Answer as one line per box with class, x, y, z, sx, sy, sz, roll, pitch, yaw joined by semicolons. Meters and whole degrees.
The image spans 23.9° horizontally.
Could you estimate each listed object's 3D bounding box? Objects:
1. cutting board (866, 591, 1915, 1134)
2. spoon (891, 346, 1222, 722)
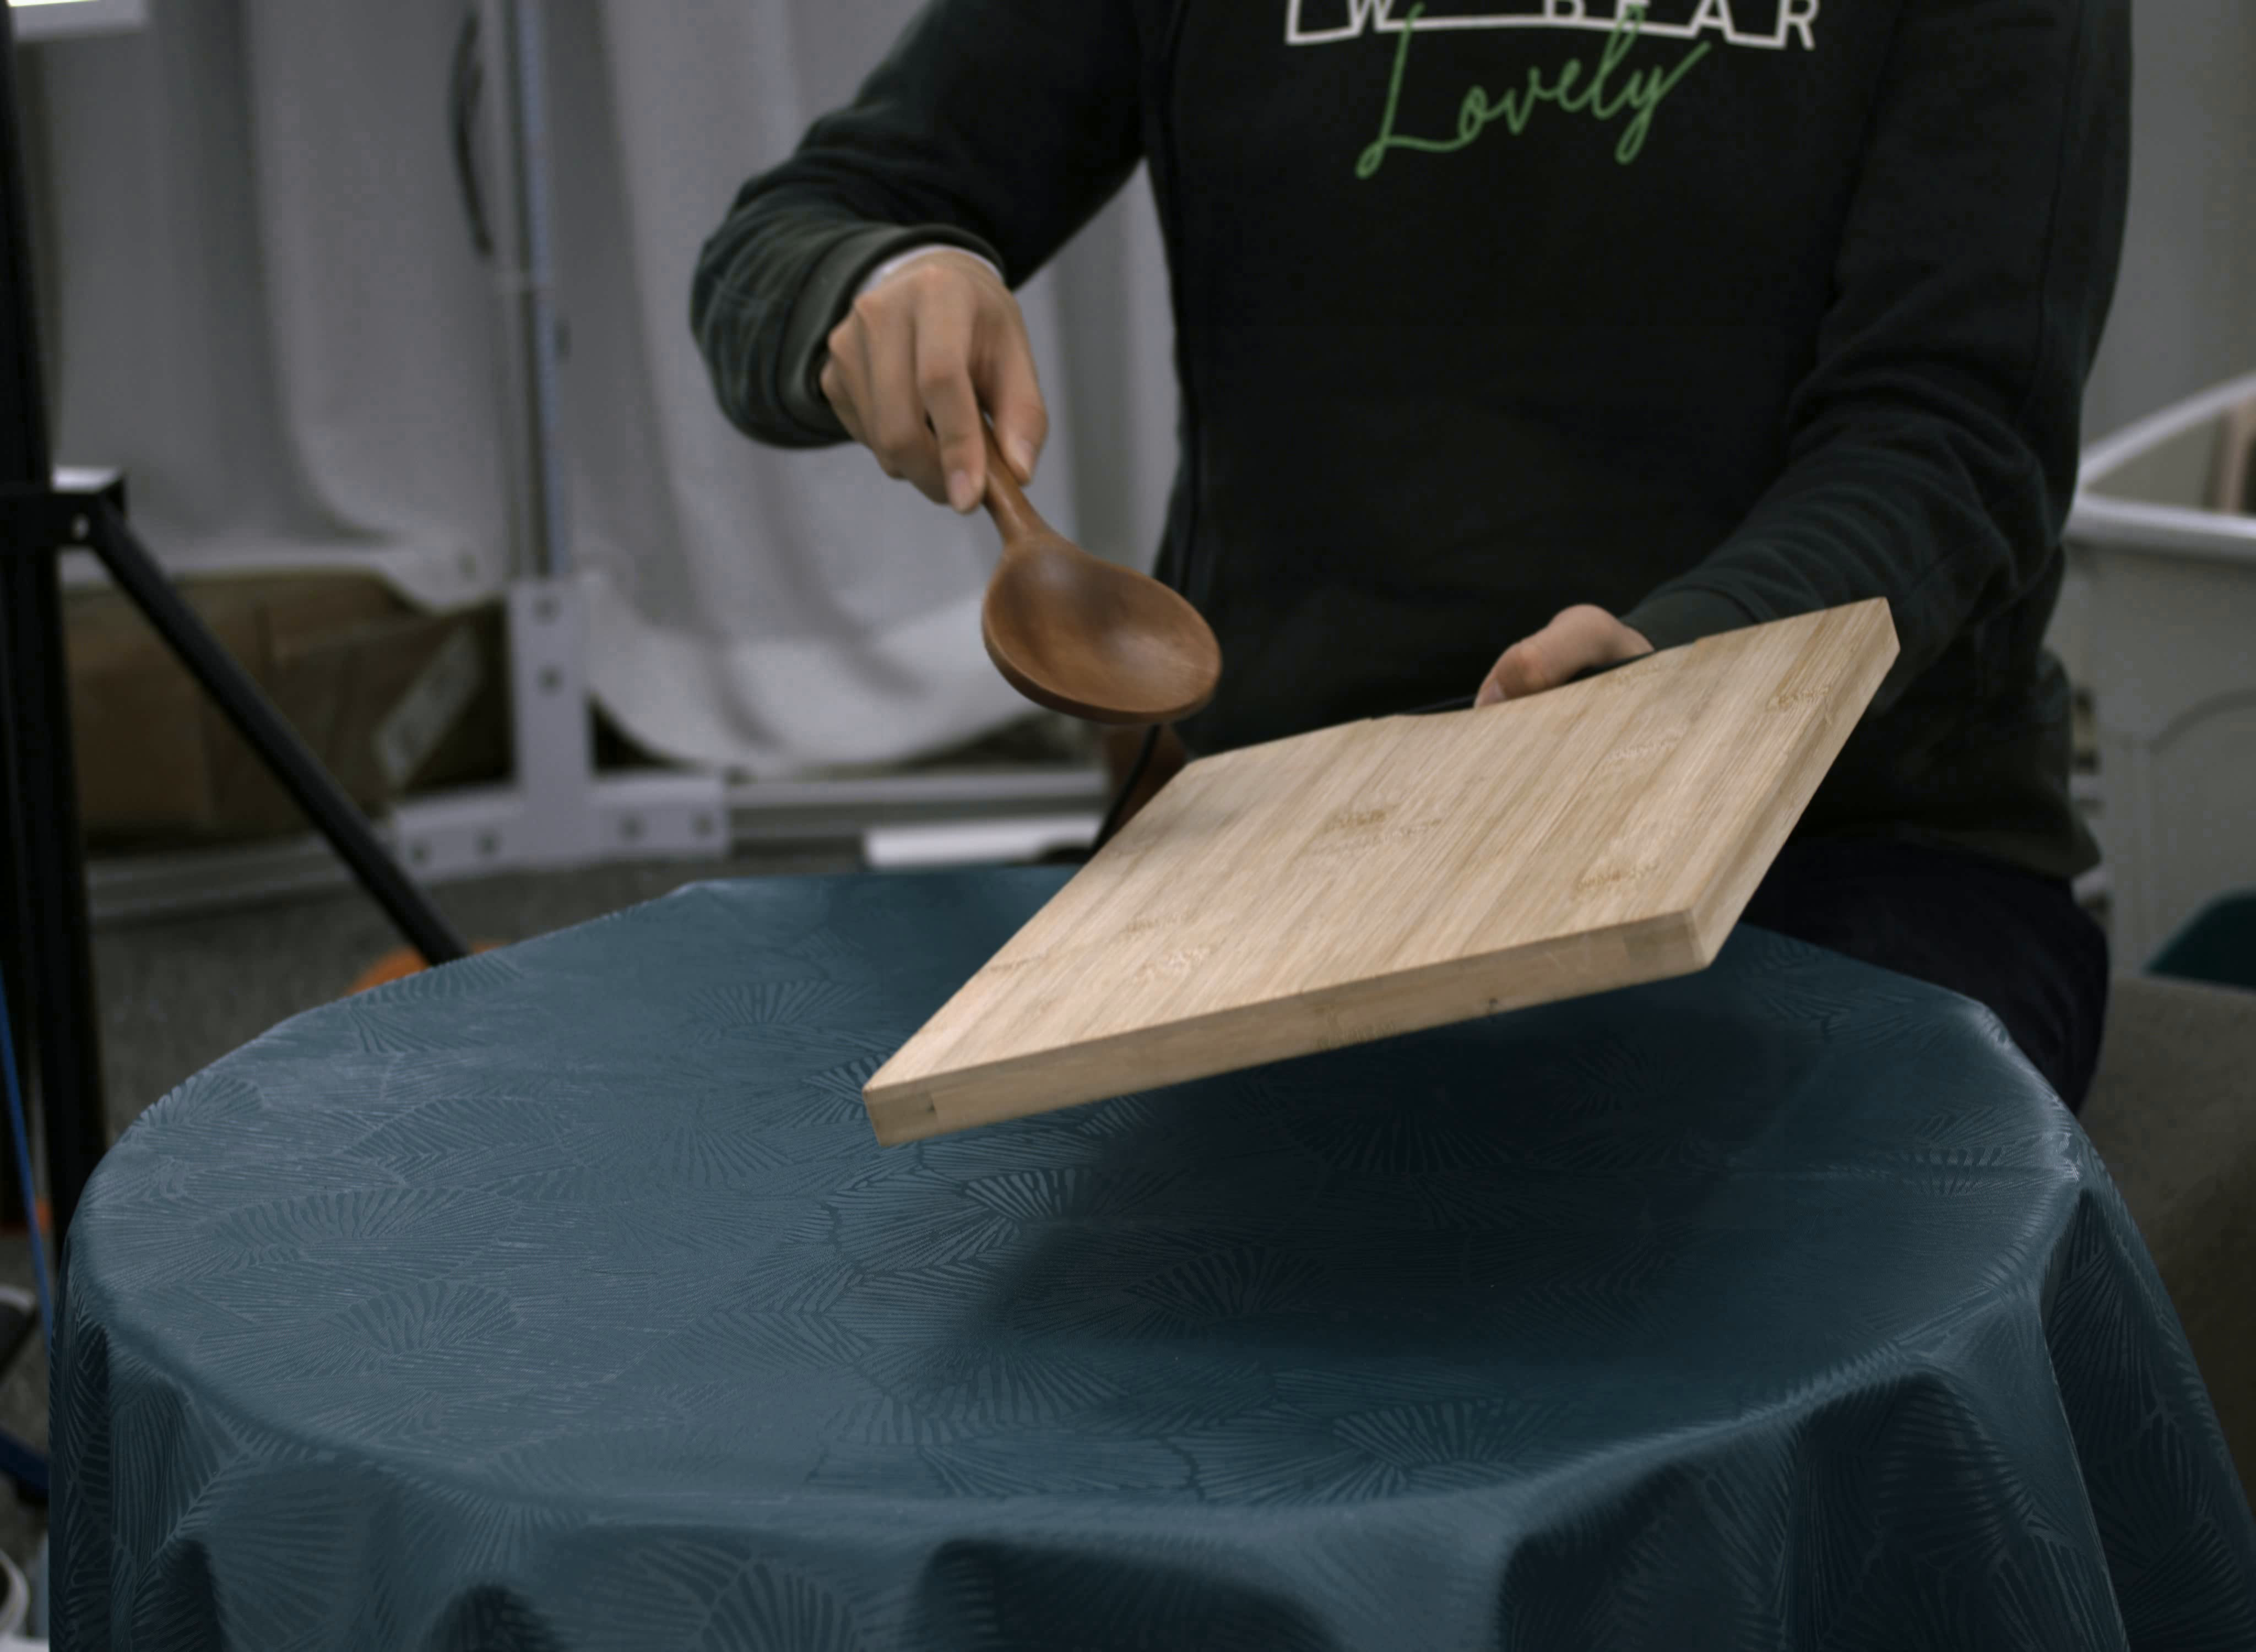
cutting board;0.088;0.008;1.561;0.253;0.023;0.345;-13;12;20
spoon;-0.032;-0.093;1.712;0.074;0.017;0.220;-8;38;-20
